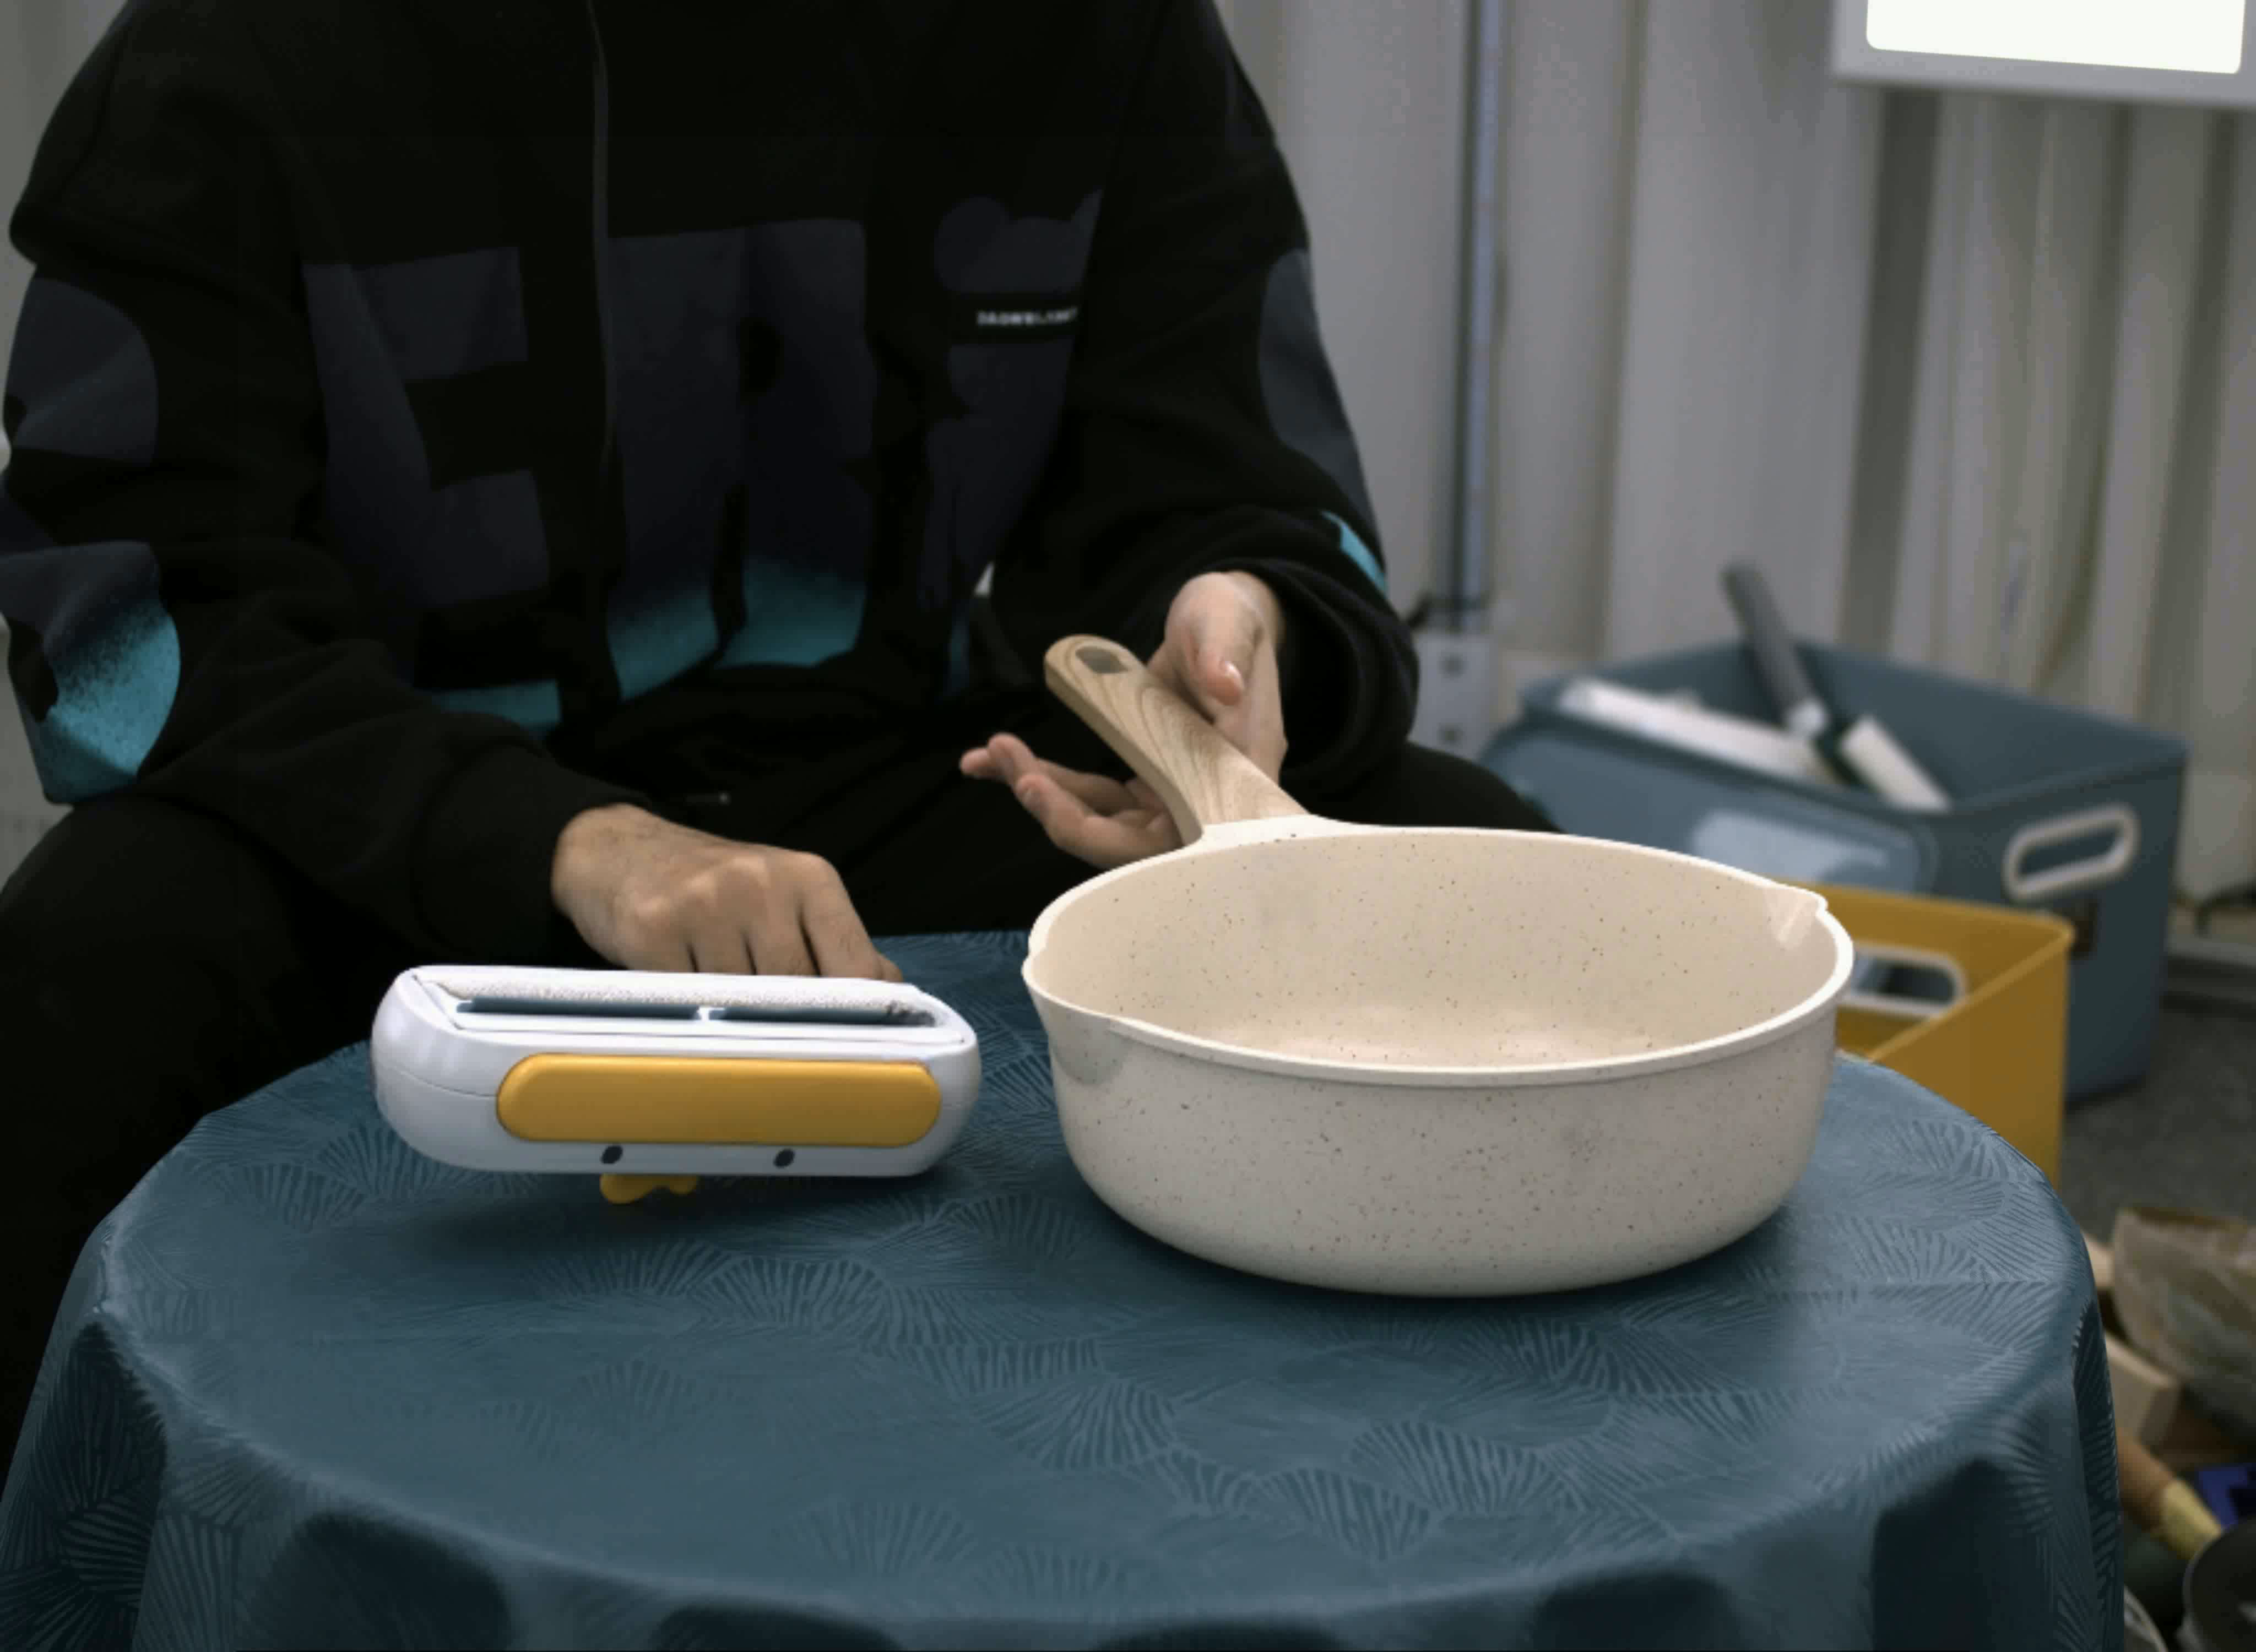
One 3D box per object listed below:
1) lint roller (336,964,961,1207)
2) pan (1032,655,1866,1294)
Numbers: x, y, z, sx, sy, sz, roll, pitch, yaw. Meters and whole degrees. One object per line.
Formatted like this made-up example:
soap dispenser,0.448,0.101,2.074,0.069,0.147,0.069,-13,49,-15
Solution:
lint roller,-0.168,0.069,1.645,0.194,0.074,0.190,-1,13,-25
pan,0.064,0.042,1.689,0.264,0.103,0.430,-9,18,-21
